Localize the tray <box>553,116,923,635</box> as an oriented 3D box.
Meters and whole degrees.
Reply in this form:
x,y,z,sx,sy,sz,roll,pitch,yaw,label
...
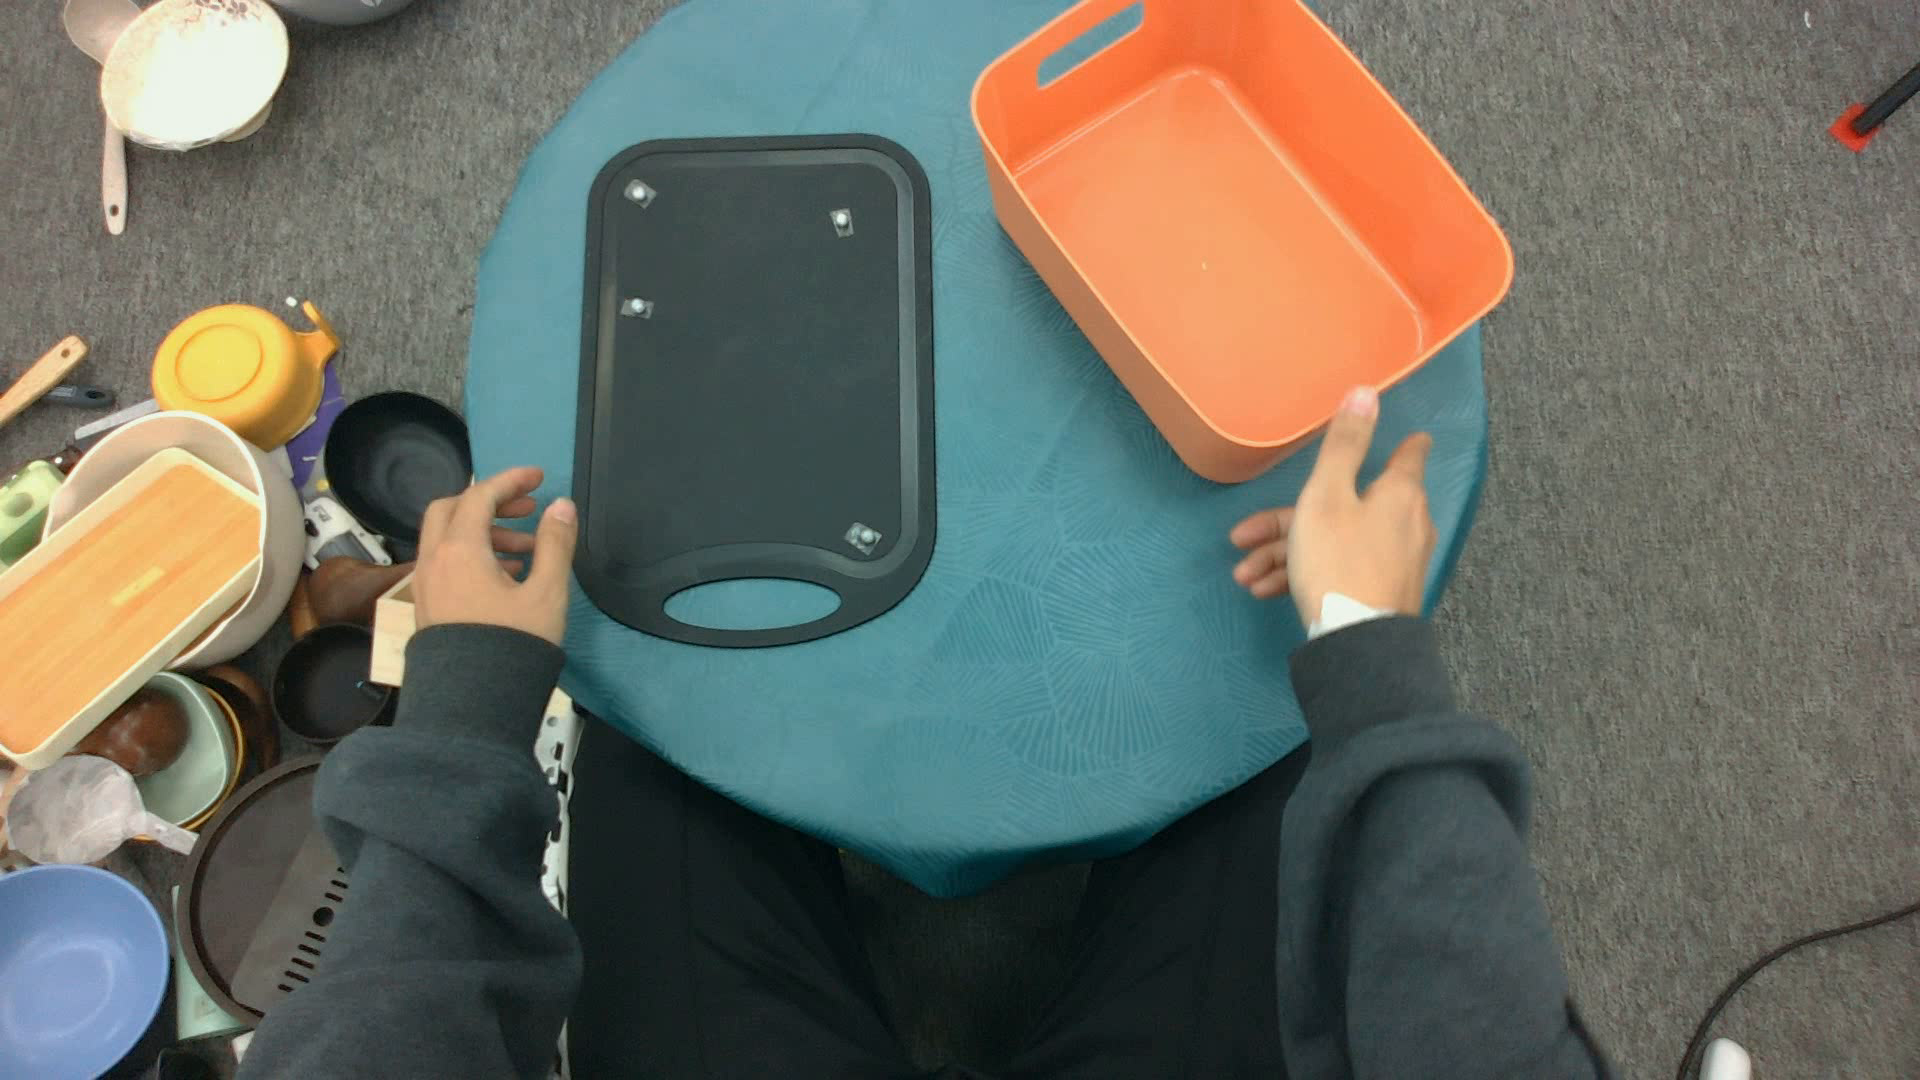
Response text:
x,y,z,sx,sy,sz,roll,pitch,yaw,label
-0.129,-0.104,0.805,0.211,0.010,0.326,-2,74,0,tray

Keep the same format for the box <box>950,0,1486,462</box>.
x,y,z,sx,sy,sz,roll,pitch,yaw,label
0.134,-0.187,0.776,0.200,0.102,0.273,-34,76,-9,box
